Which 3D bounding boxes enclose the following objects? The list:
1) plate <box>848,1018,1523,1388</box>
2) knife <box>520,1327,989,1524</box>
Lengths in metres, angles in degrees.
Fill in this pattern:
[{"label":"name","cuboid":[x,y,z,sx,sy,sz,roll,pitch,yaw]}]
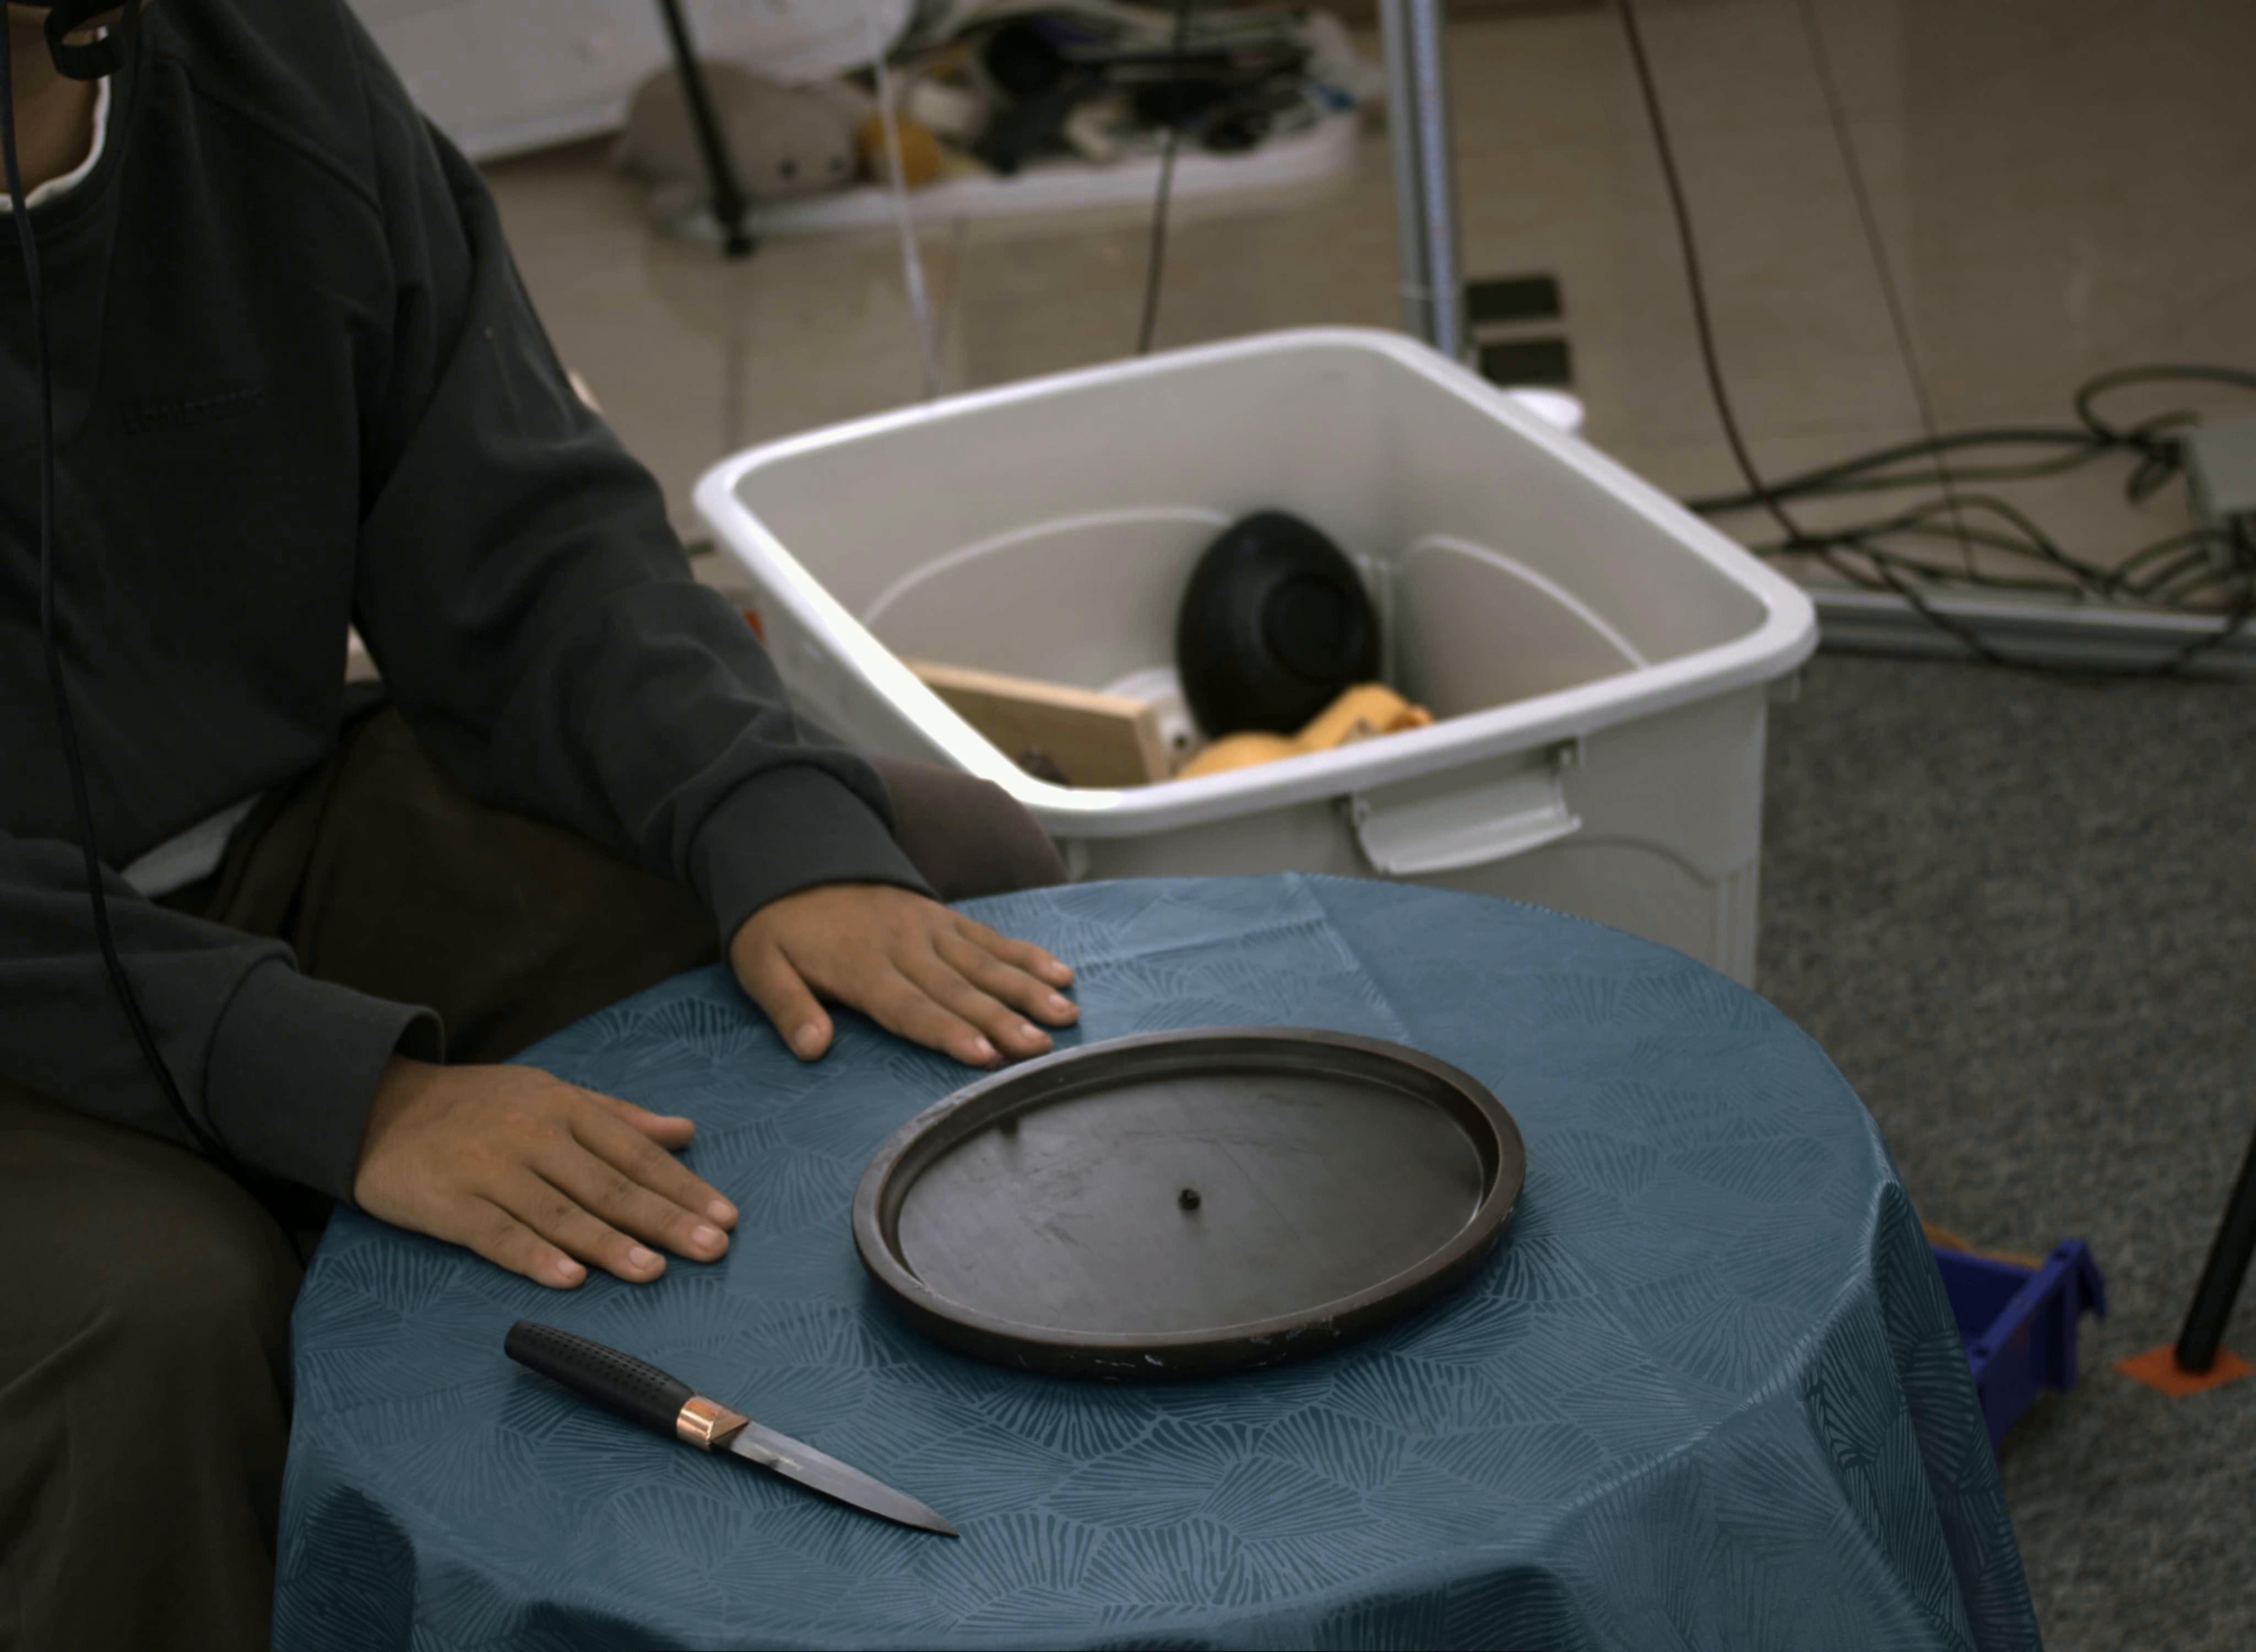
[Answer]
[{"label":"plate","cuboid":[0.022,0.139,2.115,0.254,0.029,0.251,-7,25,3]},{"label":"knife","cuboid":[-0.135,0.214,2.006,0.224,0.017,0.026,17,28,39]}]
